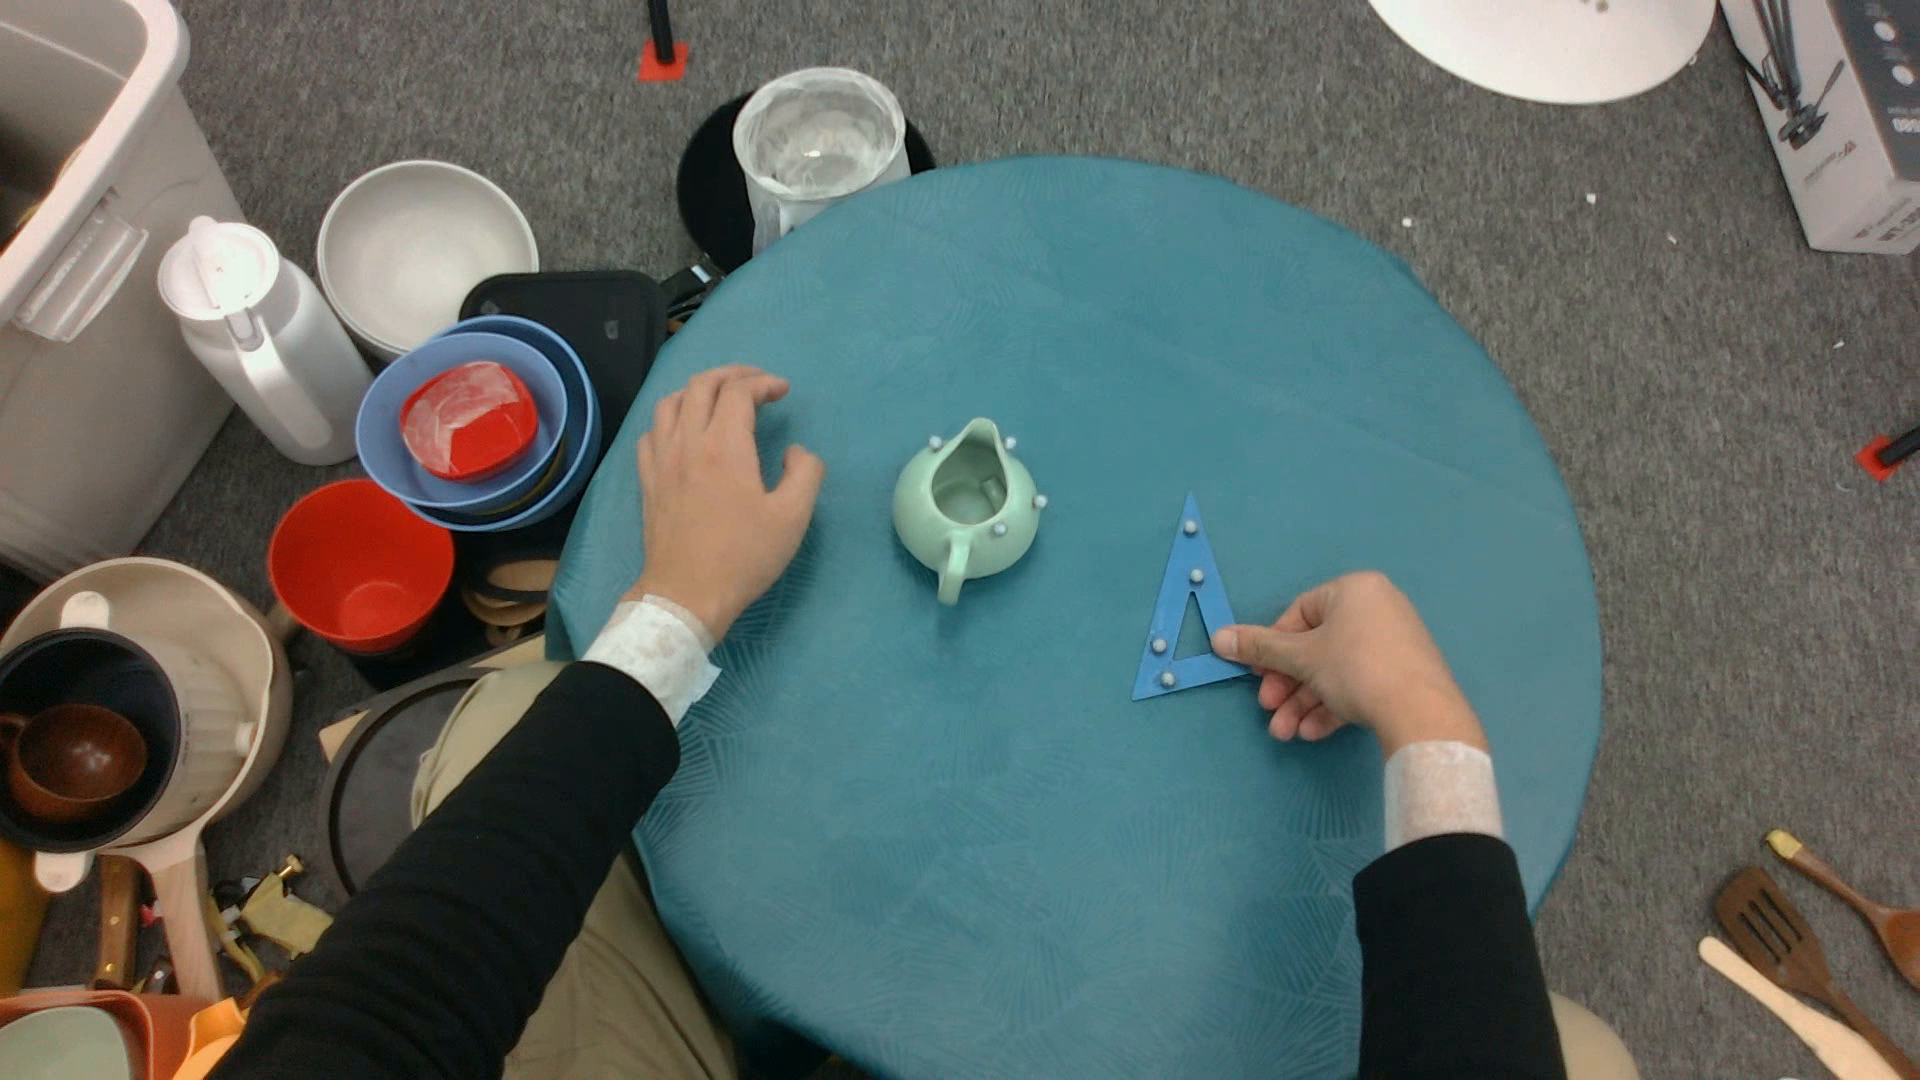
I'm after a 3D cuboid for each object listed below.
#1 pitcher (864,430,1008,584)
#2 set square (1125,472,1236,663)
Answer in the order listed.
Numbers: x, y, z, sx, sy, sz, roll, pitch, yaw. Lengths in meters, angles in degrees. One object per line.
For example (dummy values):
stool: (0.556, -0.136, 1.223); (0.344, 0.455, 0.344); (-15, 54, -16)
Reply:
pitcher: (-0.015, -0.013, 0.773); (0.086, 0.060, 0.108); (30, 50, -3)
set square: (0.141, 0.021, 0.806); (0.061, 0.006, 0.132); (17, 66, 10)
